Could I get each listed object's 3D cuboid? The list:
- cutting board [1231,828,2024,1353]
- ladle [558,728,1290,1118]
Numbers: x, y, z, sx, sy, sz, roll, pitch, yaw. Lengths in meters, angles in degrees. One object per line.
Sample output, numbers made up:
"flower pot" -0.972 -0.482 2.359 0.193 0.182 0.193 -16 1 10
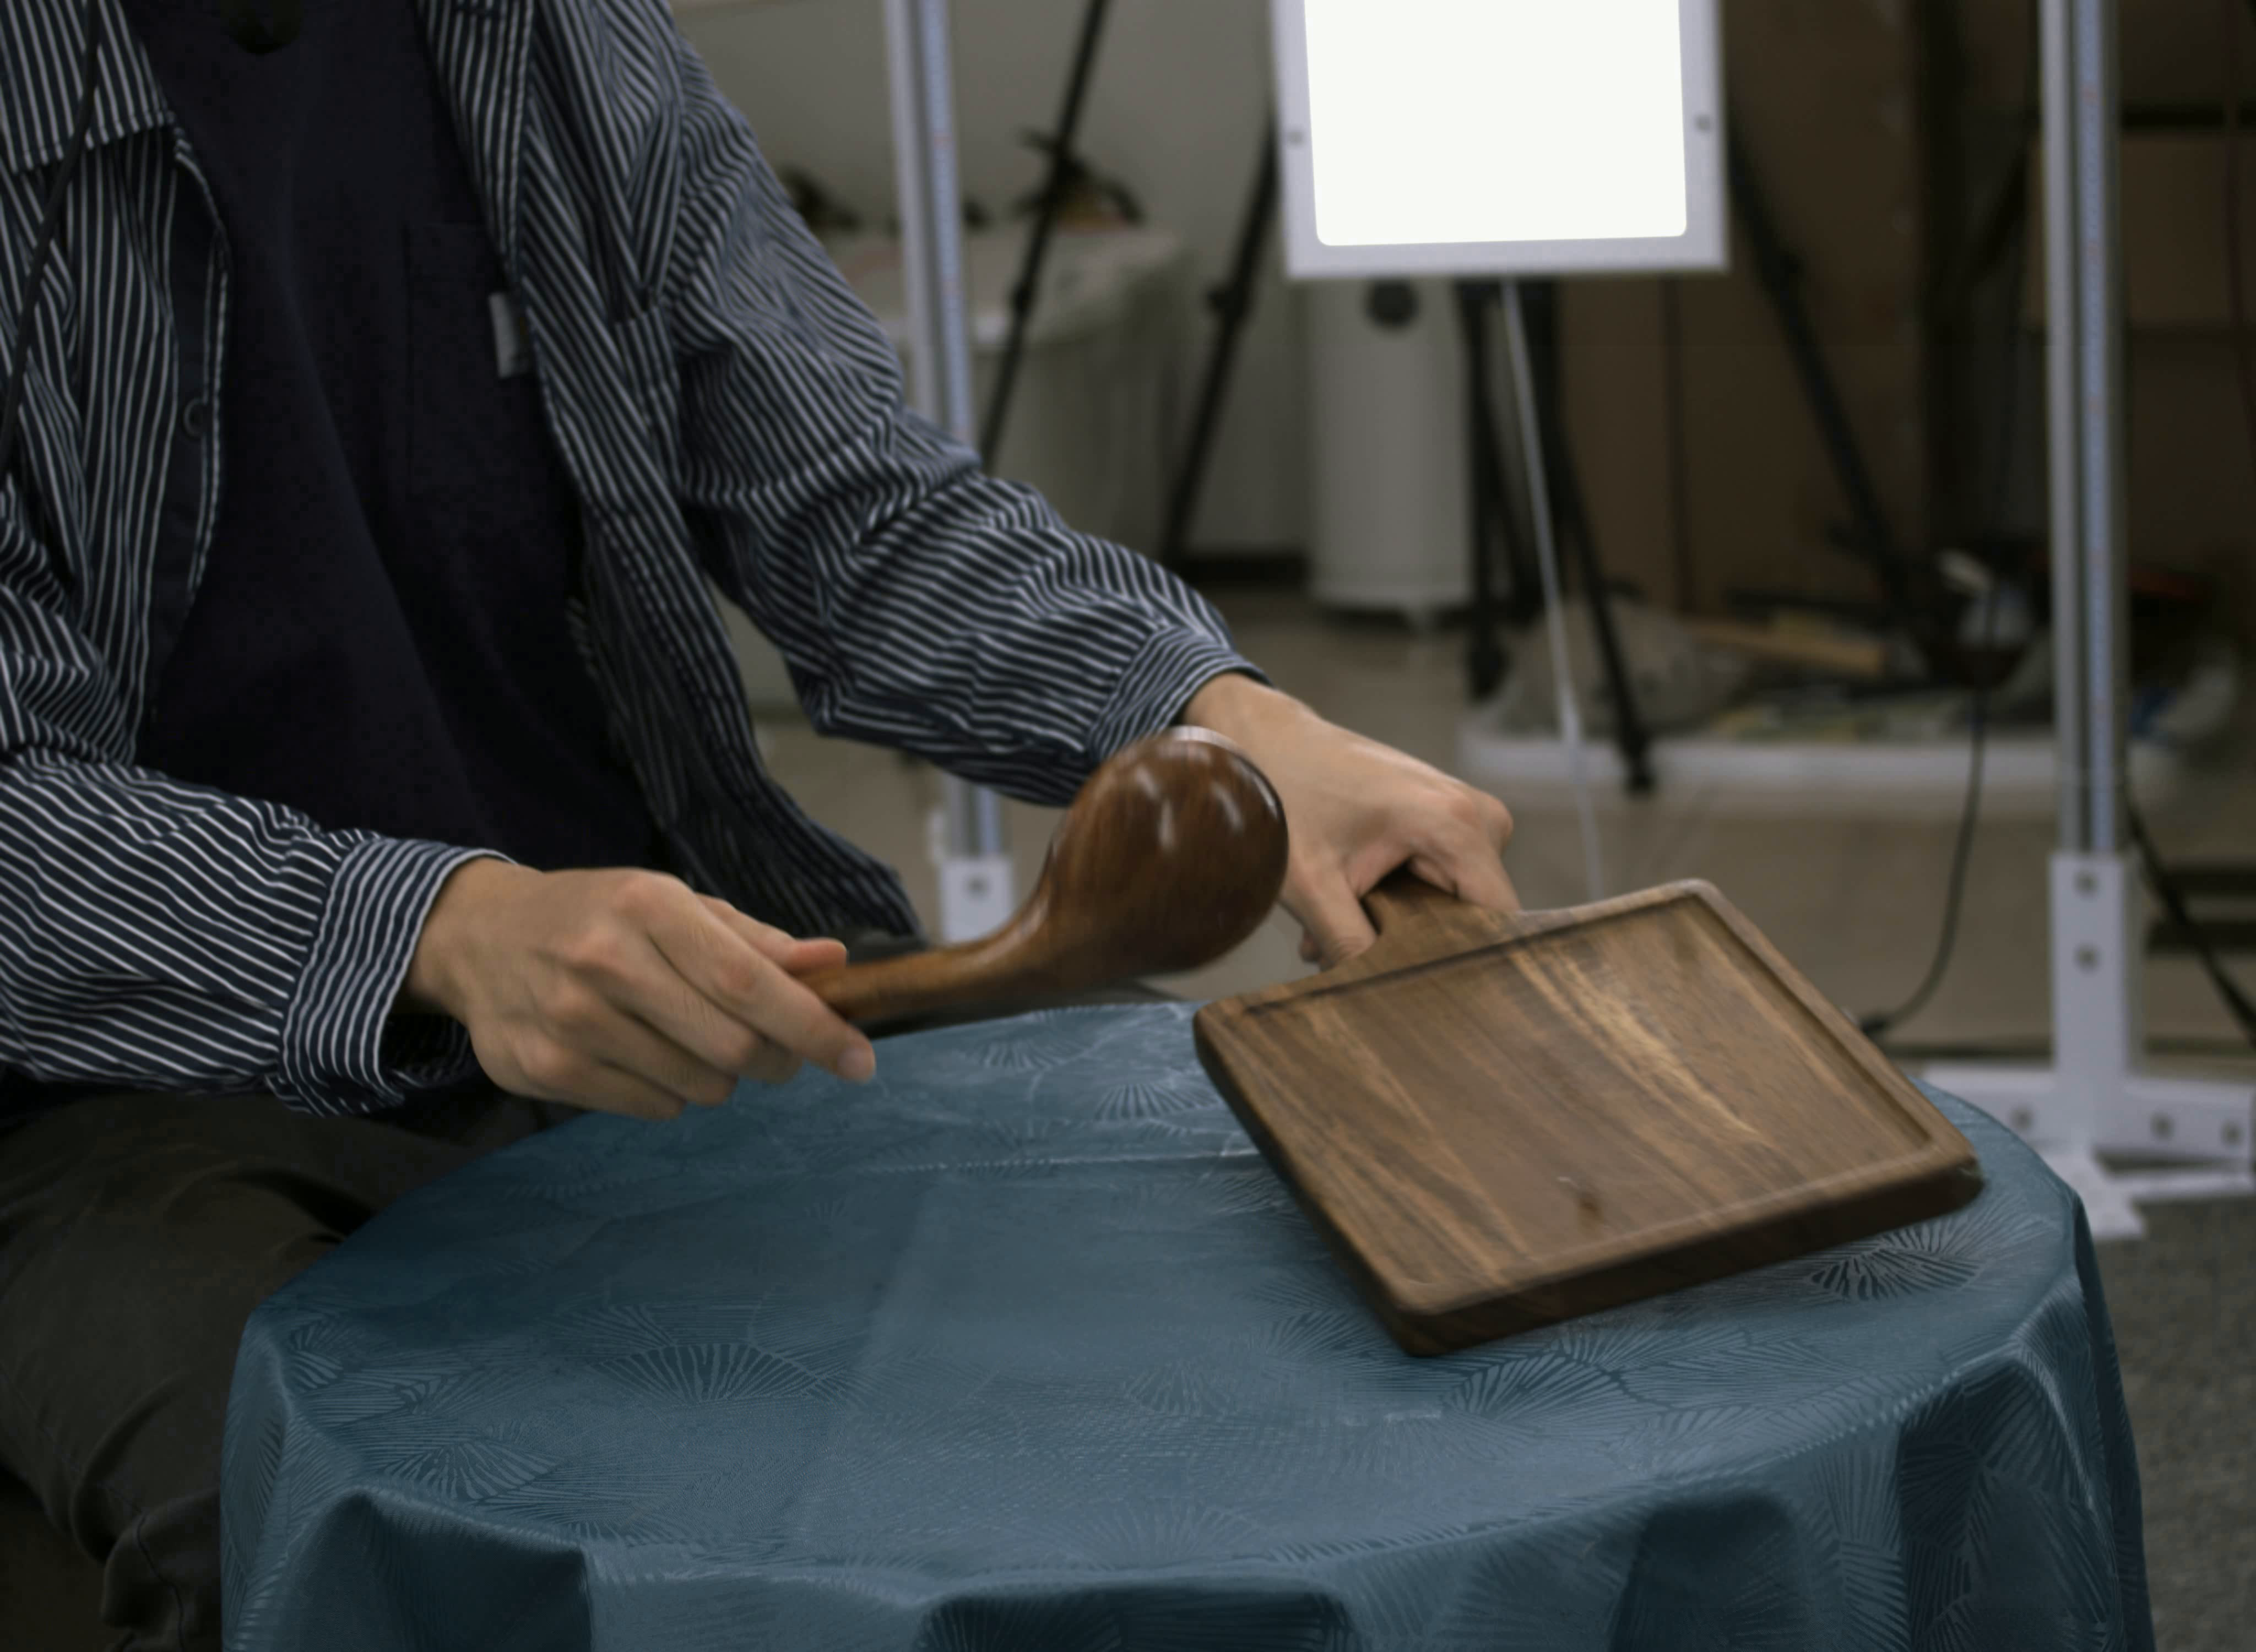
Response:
"cutting board" 0.149 0.072 1.868 0.199 0.023 0.355 -14 24 -9
"ladle" -0.070 0.033 1.753 0.280 0.081 0.076 -15 40 38
